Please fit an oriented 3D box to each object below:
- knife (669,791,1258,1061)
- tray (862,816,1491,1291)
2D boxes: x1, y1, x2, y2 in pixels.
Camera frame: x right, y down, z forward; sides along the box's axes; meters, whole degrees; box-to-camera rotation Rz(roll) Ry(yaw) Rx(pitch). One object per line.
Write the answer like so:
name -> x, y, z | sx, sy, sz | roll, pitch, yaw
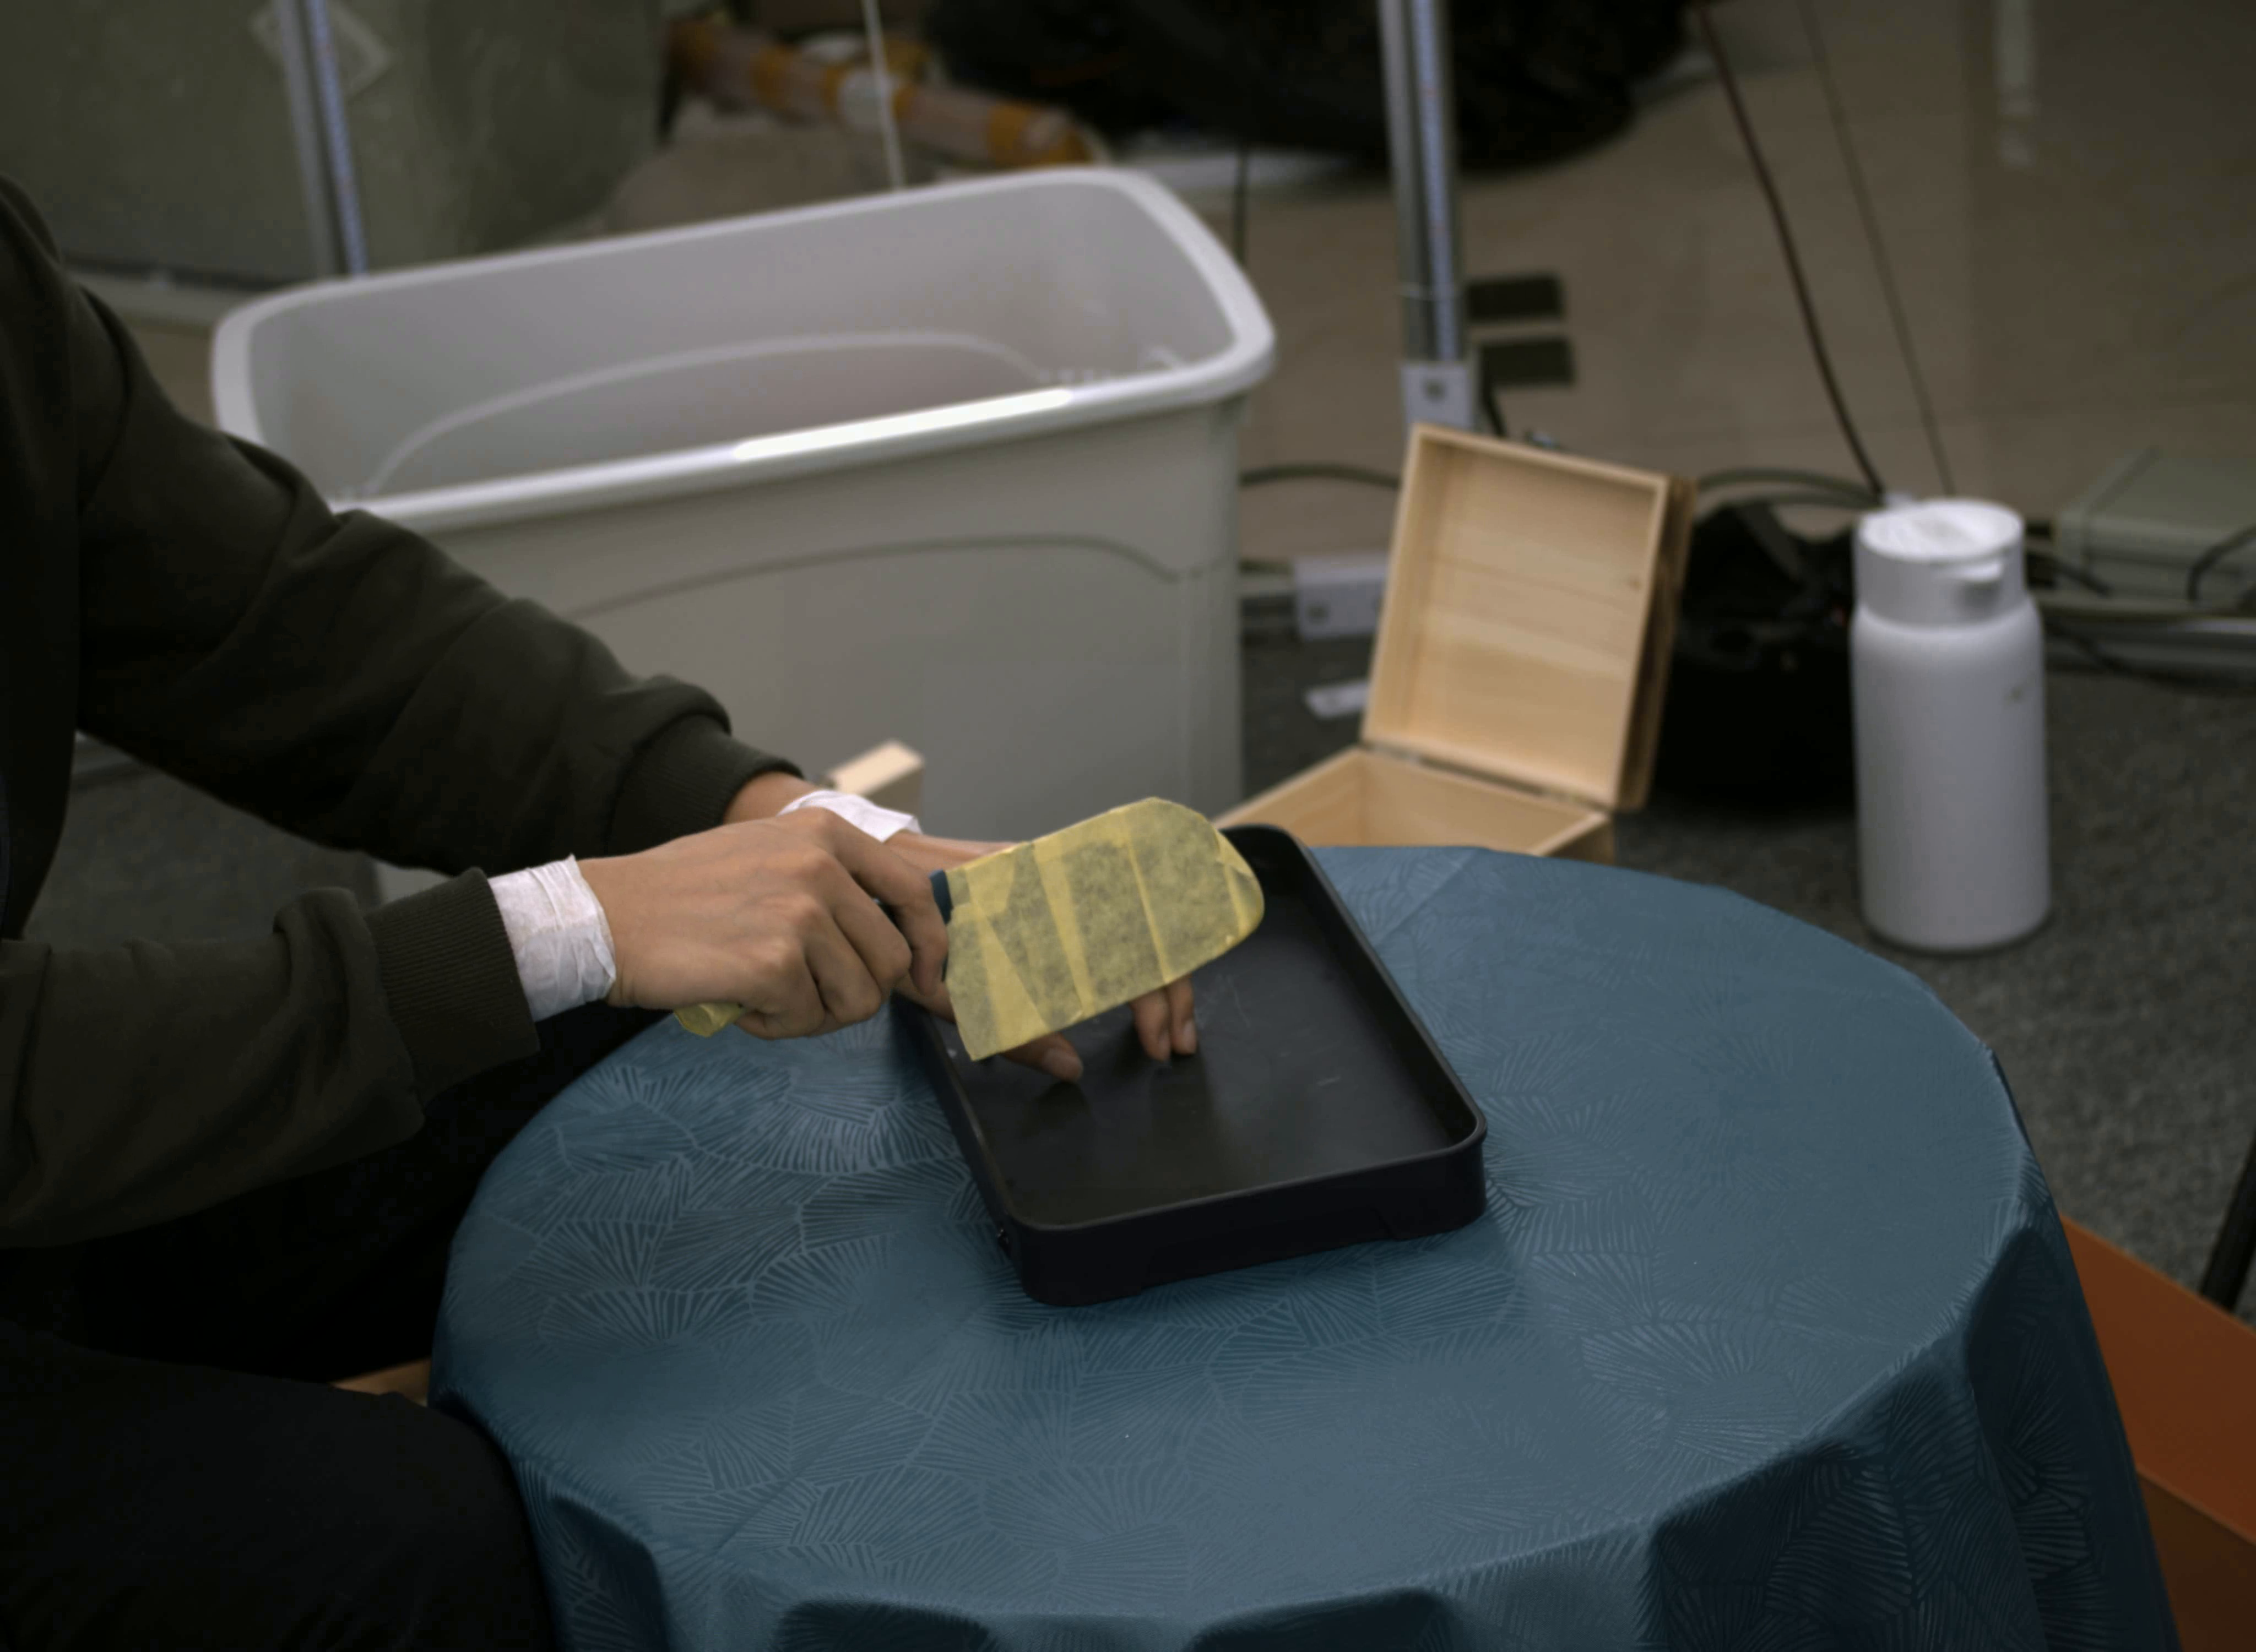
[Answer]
knife -> -0.056, 0.047, 2.166 | 0.288, 0.081, 0.027 | -17, 3, -39
tray -> 0.014, 0.084, 2.220 | 0.184, 0.037, 0.313 | -11, 25, -11
